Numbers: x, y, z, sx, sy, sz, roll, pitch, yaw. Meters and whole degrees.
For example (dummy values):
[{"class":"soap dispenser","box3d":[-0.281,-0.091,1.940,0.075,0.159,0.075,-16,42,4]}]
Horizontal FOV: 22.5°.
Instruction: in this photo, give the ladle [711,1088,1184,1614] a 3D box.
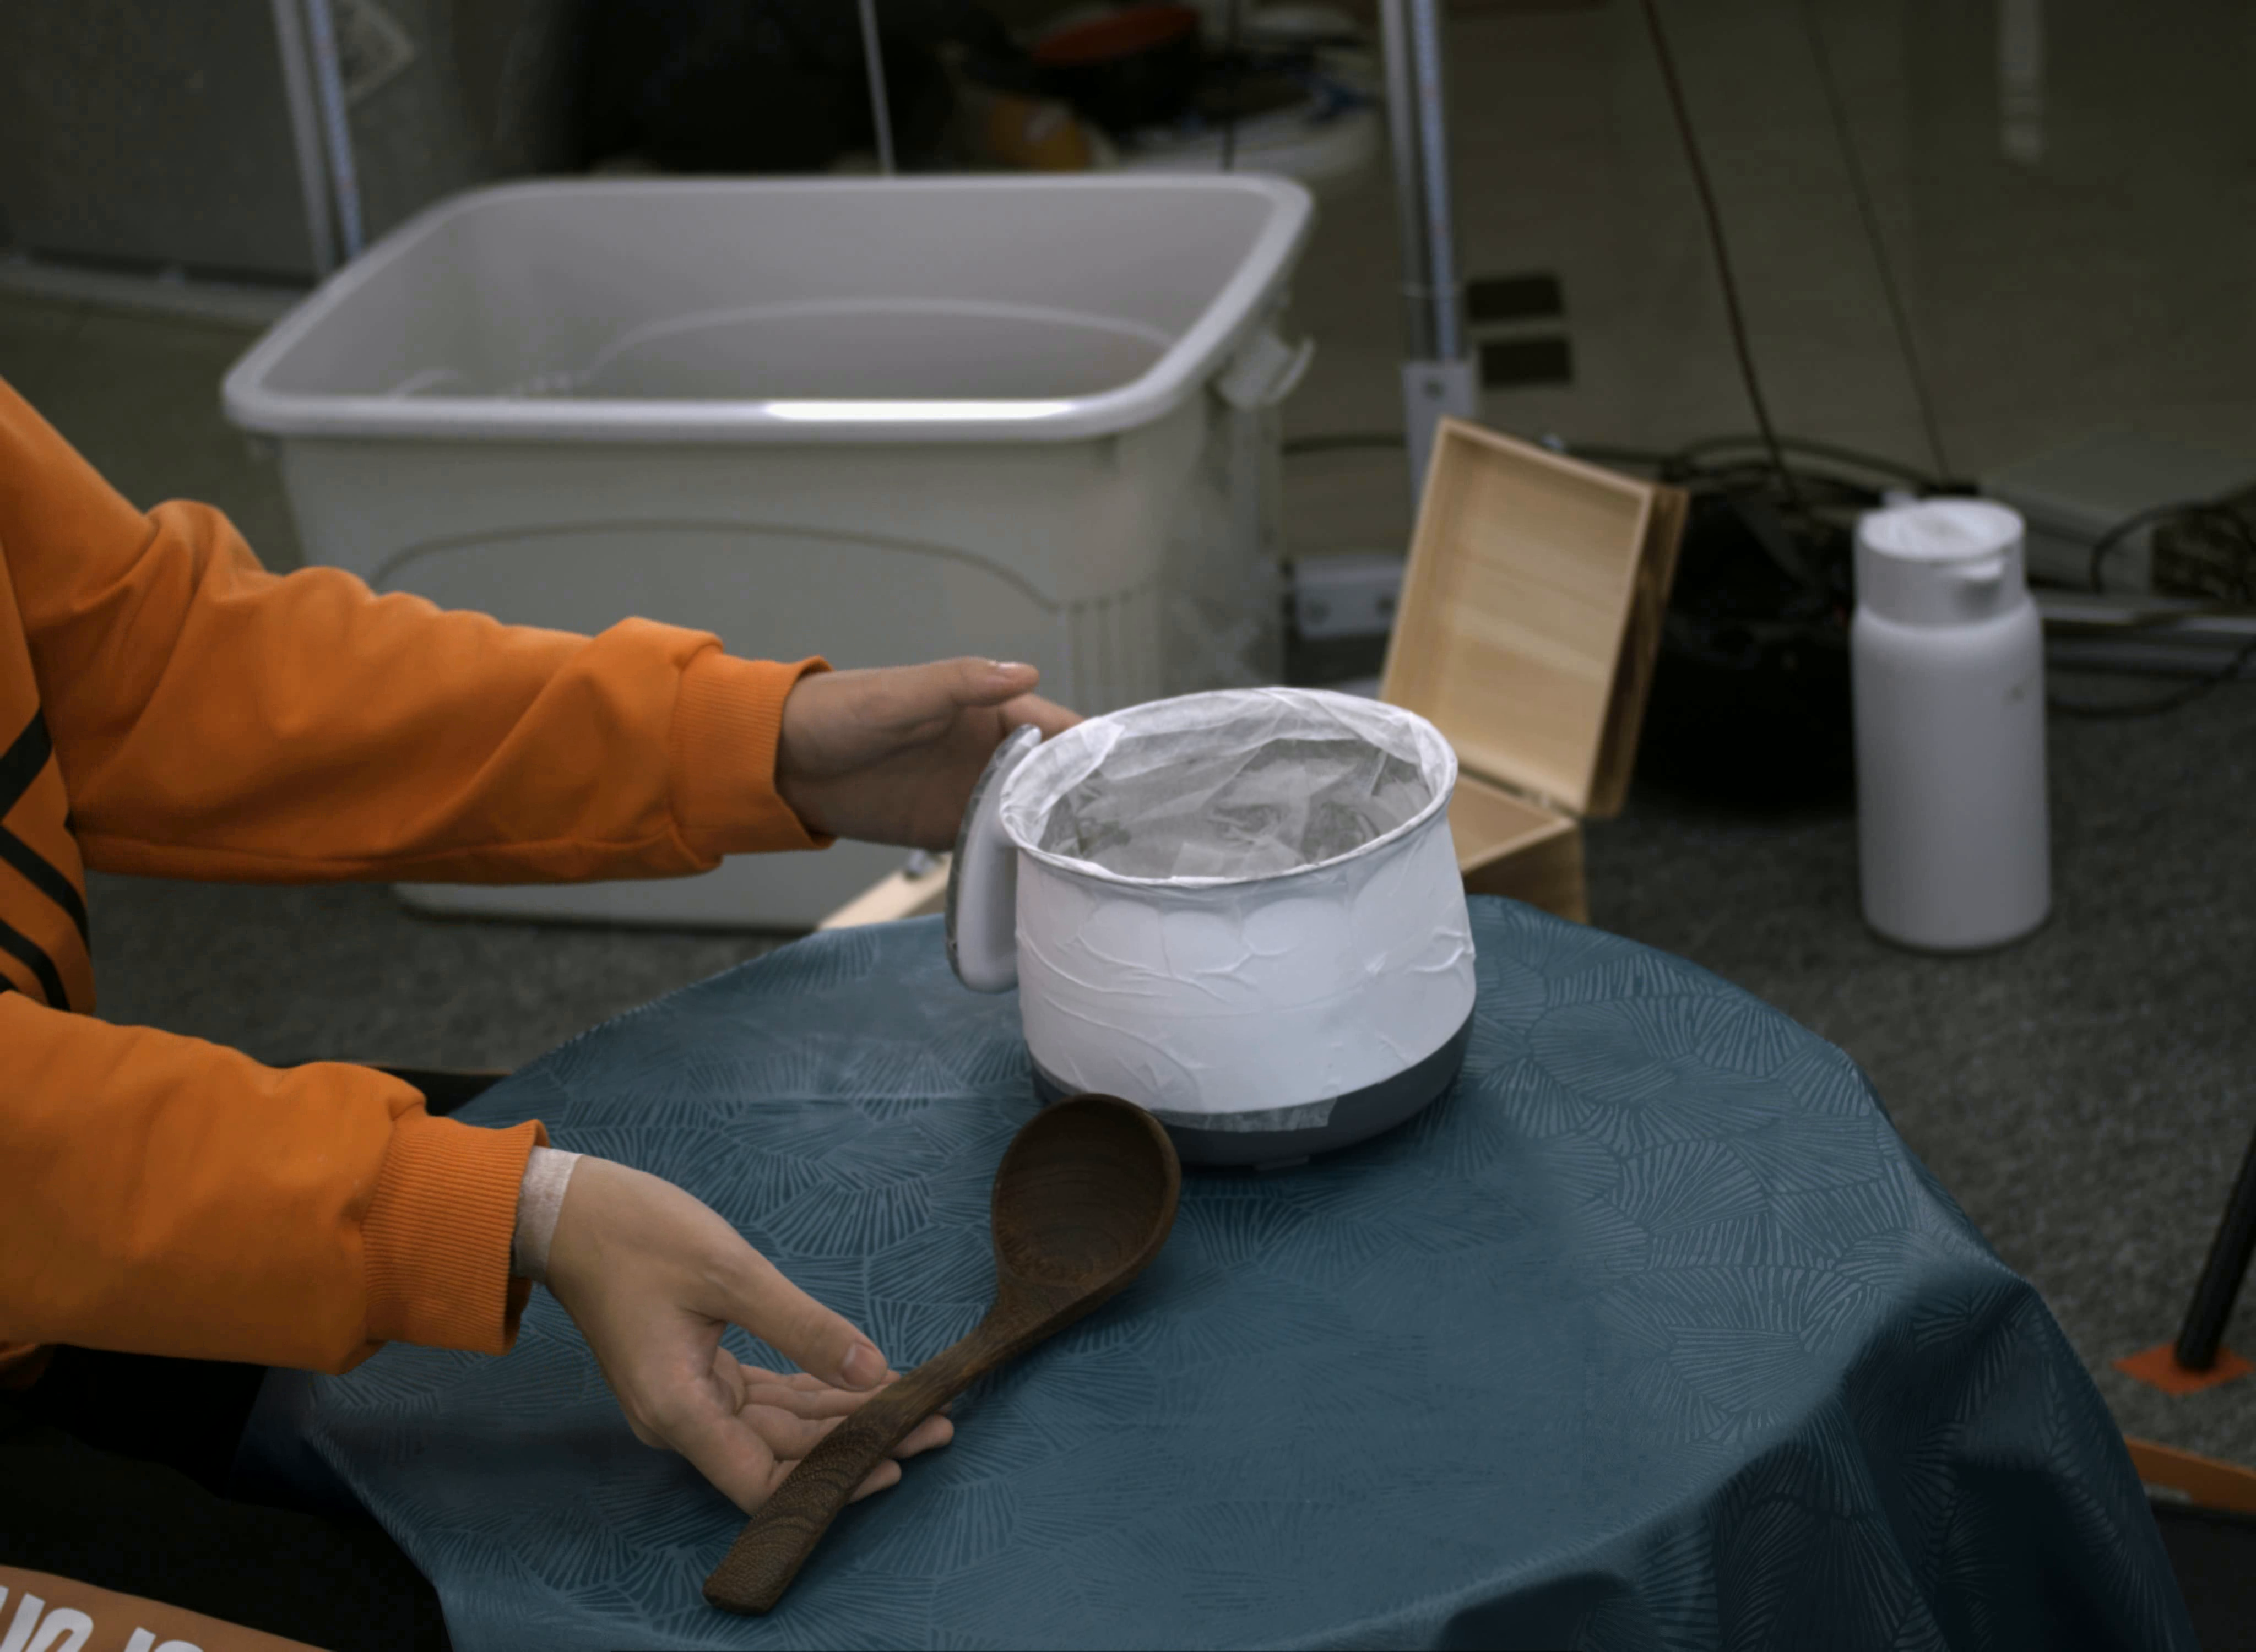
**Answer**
[{"class":"ladle","box3d":[-0.068,0.179,1.995,0.076,0.072,0.271,7,27,31]}]

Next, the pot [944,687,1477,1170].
[{"class":"pot","box3d":[0.022,0.035,2.198,0.232,0.139,0.177,13,31,35]}]
